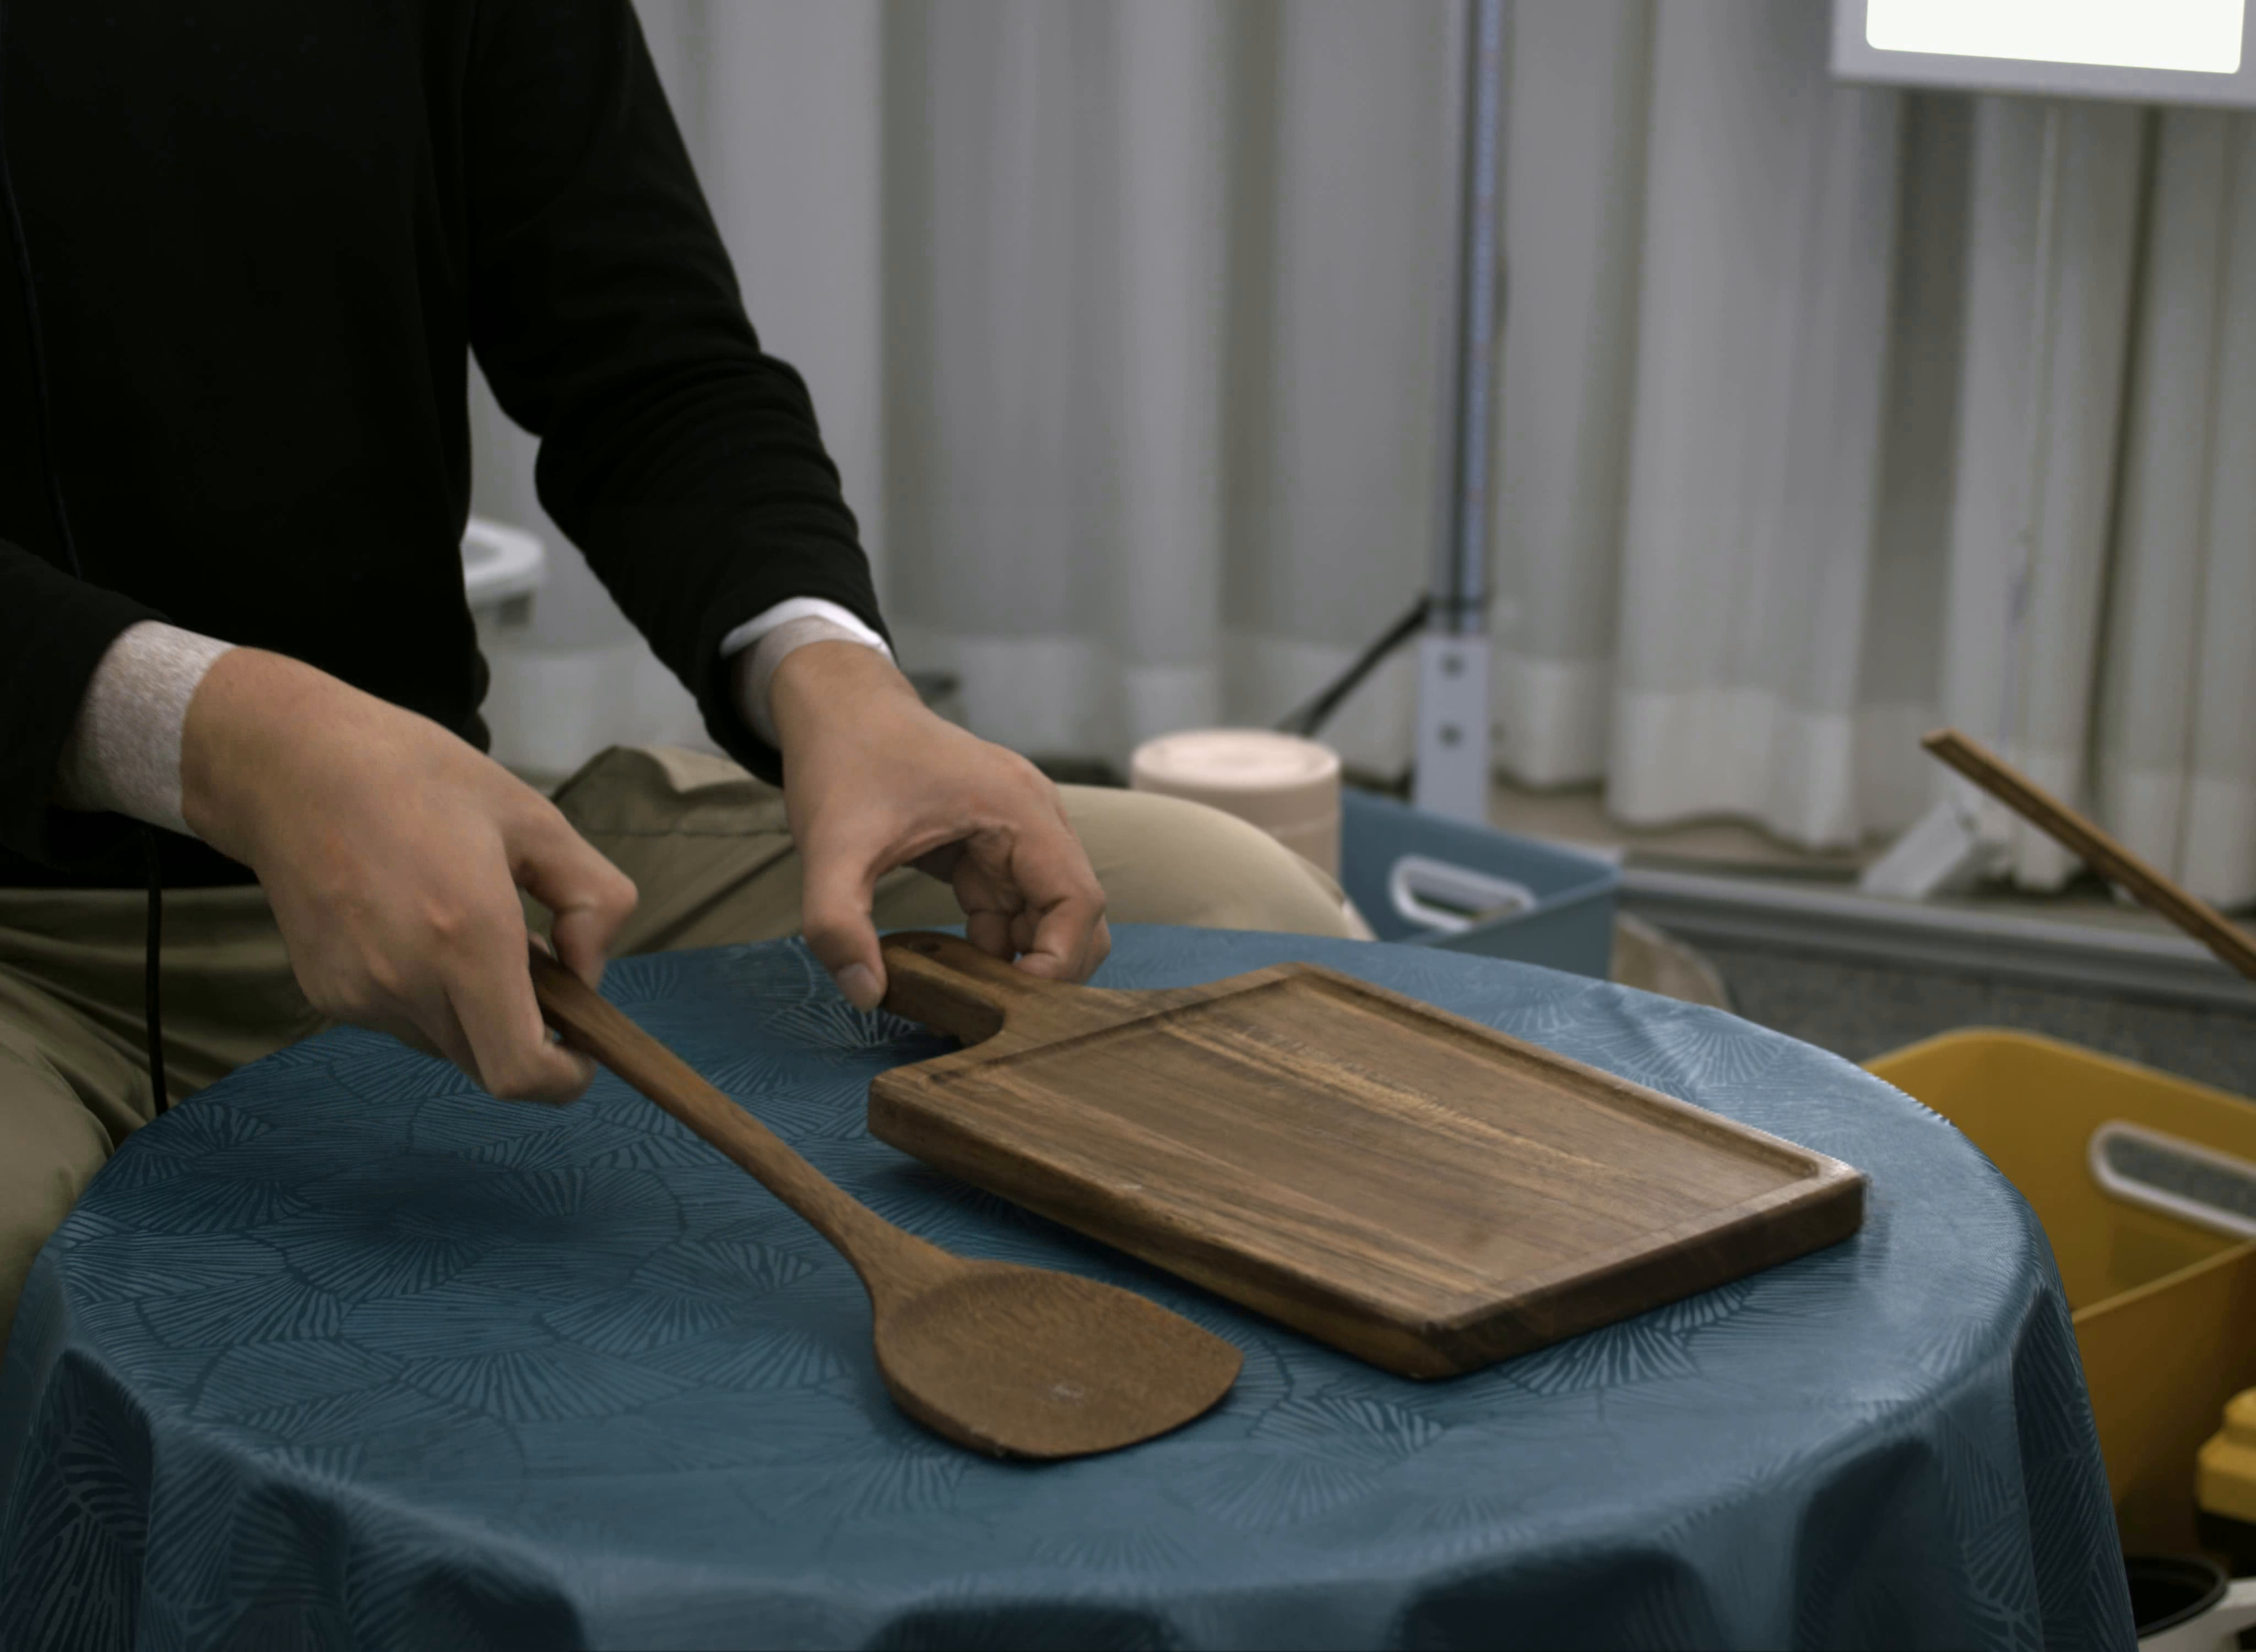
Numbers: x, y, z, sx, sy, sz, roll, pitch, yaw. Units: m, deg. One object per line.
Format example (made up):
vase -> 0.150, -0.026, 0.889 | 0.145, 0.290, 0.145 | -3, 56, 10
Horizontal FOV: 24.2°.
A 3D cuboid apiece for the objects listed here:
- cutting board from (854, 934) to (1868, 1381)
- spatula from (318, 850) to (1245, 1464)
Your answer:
cutting board -> 0.037, 0.088, 1.642 | 0.202, 0.023, 0.347 | -14, 24, -42
spatula -> -0.121, 0.087, 1.539 | 0.096, 0.016, 0.380 | -17, 37, -41
